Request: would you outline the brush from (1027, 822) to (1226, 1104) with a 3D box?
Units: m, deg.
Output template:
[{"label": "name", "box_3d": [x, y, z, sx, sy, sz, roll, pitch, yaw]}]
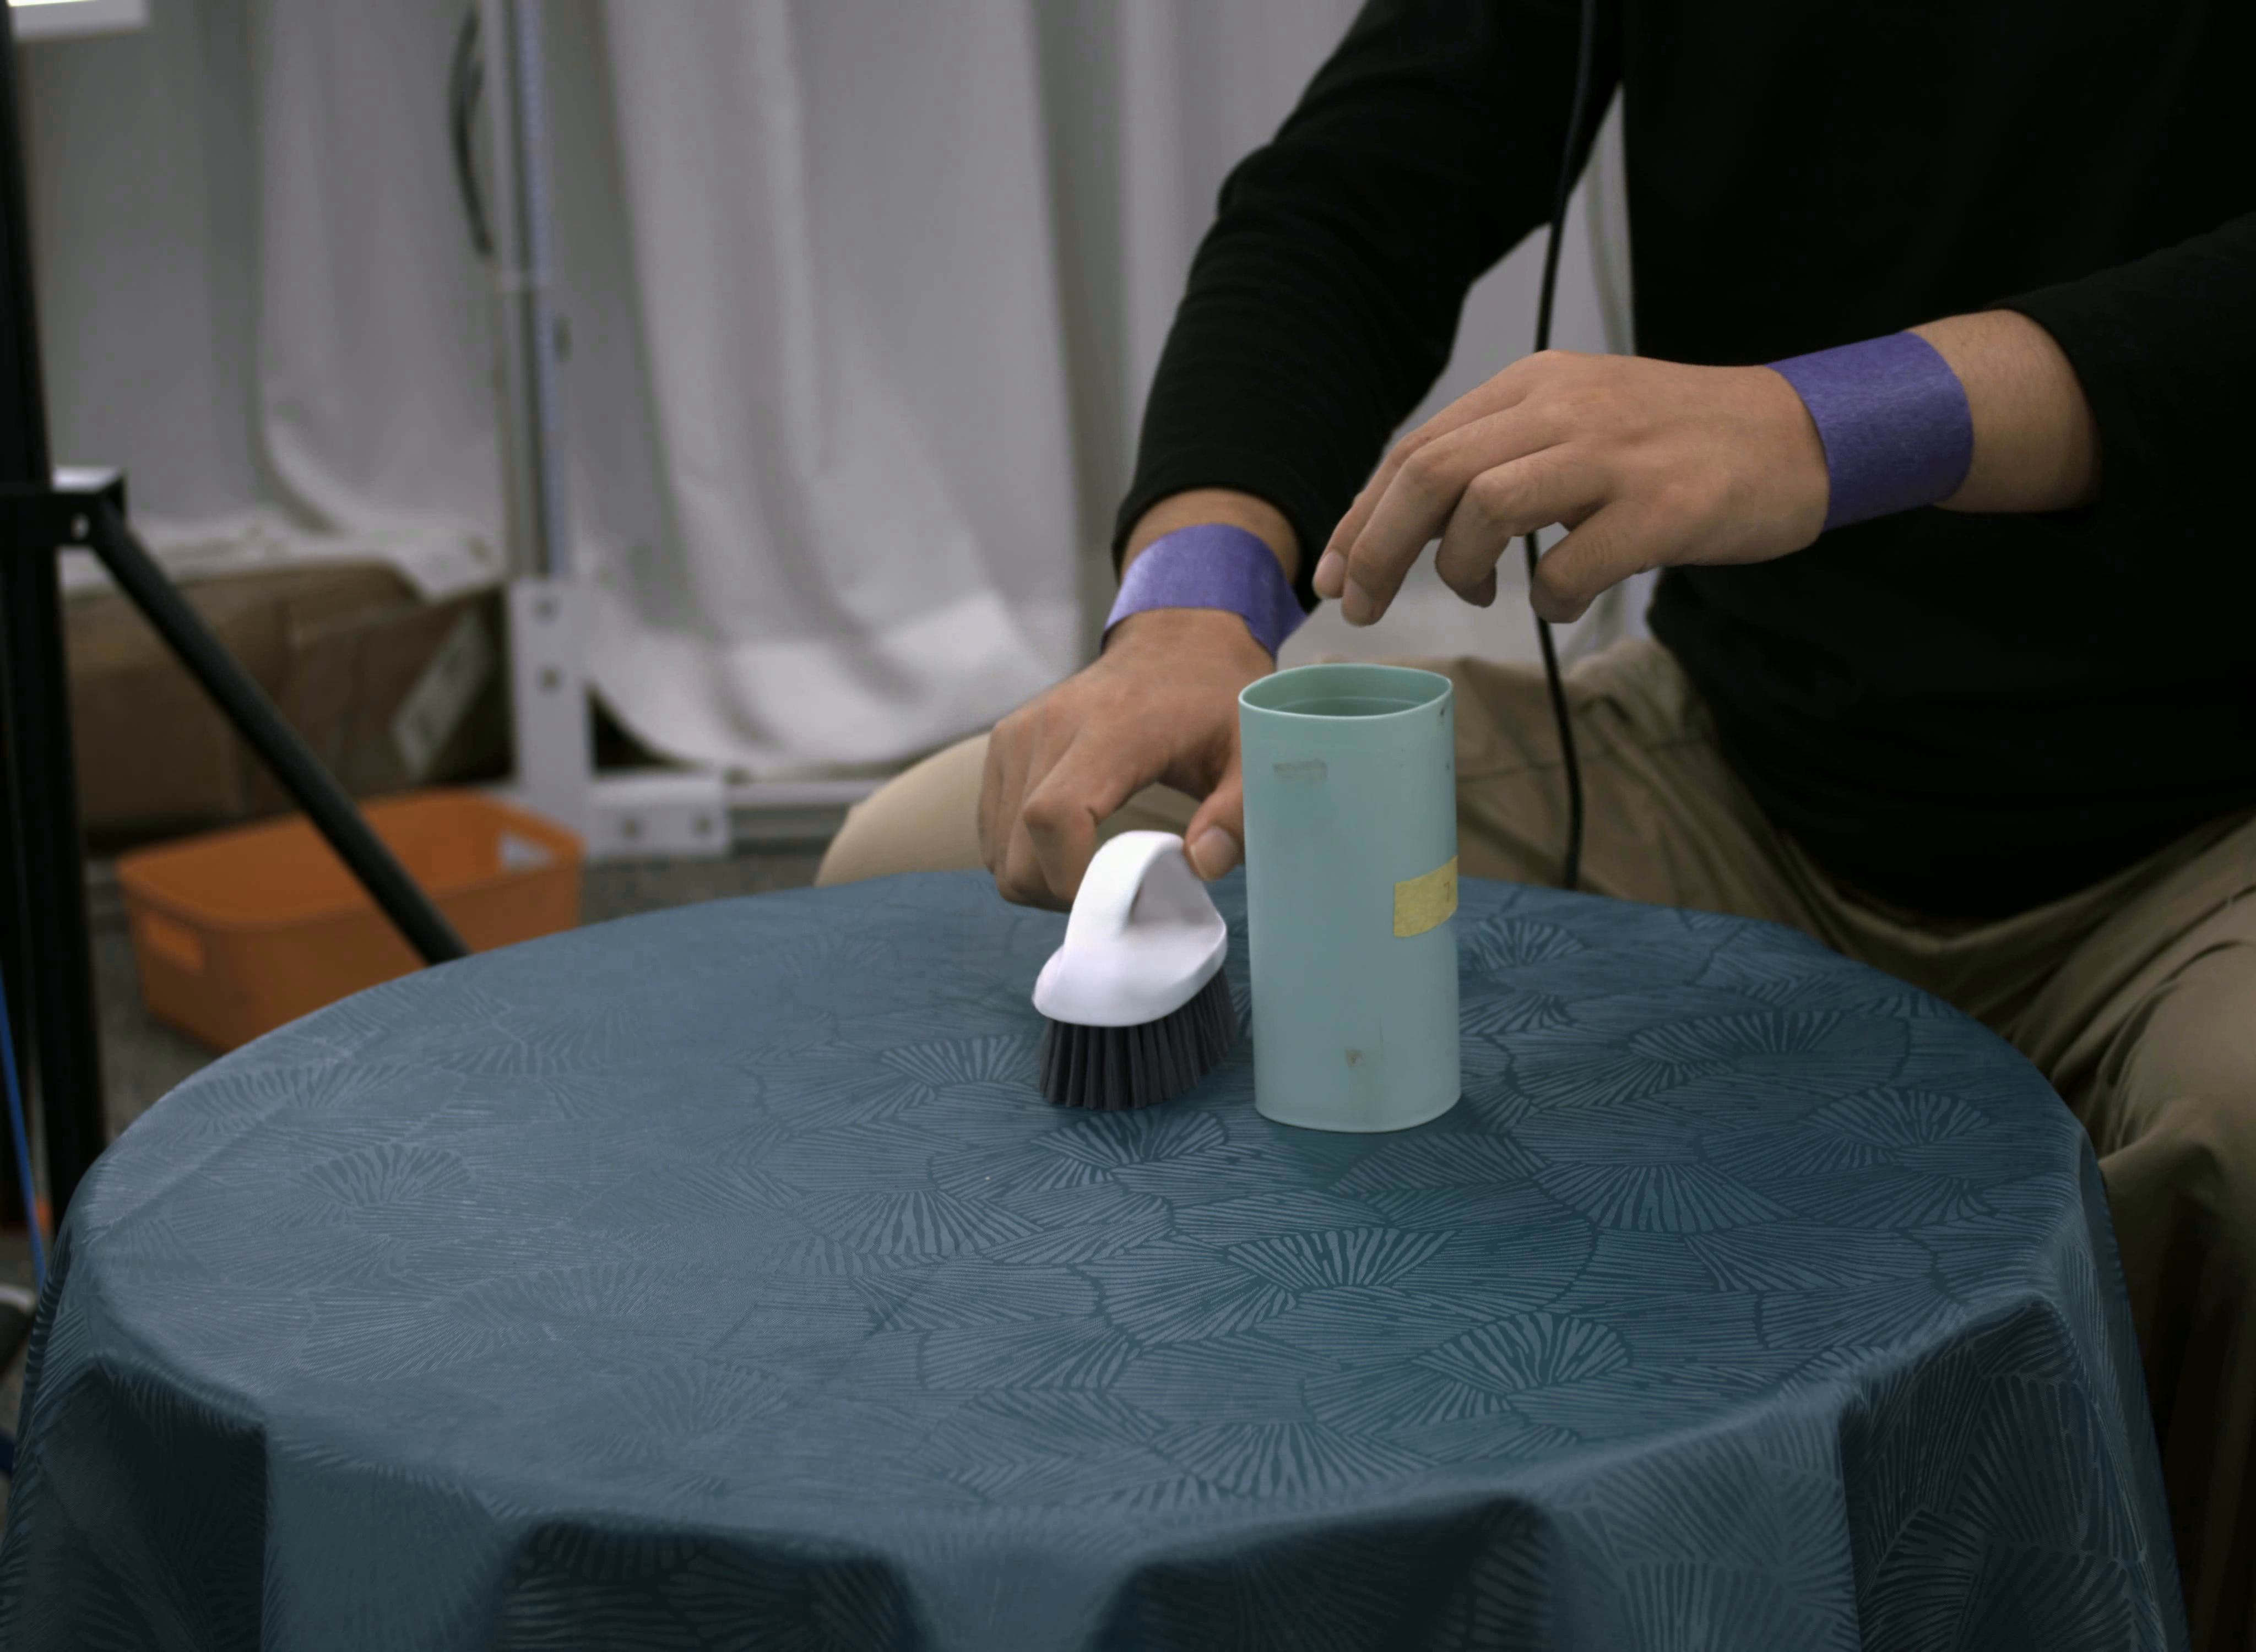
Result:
[{"label": "brush", "box_3d": [0.000, 0.038, 1.668, 0.051, 0.072, 0.098, 4, 19, 18]}]

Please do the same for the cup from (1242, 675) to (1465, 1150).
[{"label": "cup", "box_3d": [0.068, 0.026, 1.614, 0.066, 0.132, 0.067, -3, 15, -1]}]
